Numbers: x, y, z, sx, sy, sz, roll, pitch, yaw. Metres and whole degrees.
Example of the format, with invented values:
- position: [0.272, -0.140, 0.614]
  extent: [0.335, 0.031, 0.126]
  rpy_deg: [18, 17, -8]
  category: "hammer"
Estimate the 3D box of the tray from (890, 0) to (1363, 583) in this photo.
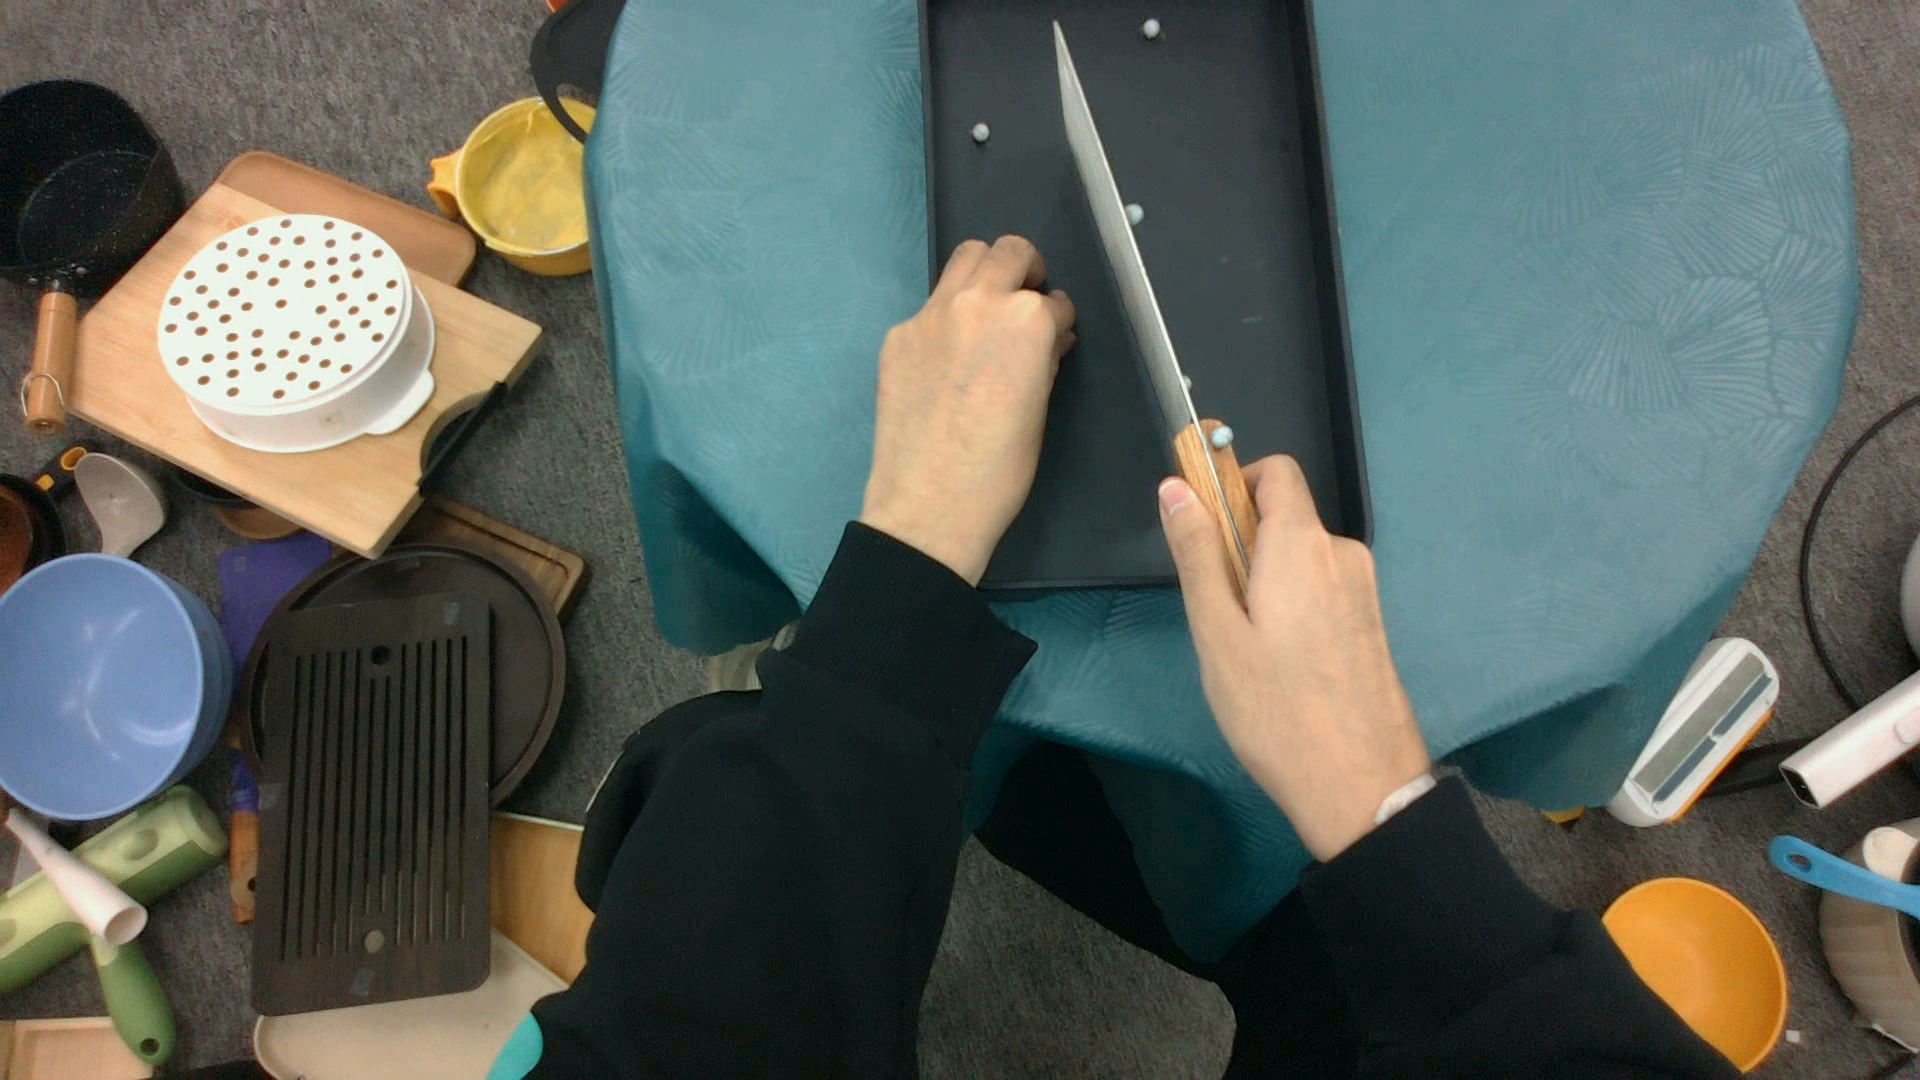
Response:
- position: [0.067, -0.140, 0.626]
  extent: [0.184, 0.037, 0.318]
  rpy_deg: [-4, 74, -3]
  category: "tray"

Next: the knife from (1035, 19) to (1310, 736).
- position: [0.078, -0.065, 0.561]
  extent: [0.021, 0.093, 0.306]
  rpy_deg: [-18, 75, 3]
  category: "knife"
